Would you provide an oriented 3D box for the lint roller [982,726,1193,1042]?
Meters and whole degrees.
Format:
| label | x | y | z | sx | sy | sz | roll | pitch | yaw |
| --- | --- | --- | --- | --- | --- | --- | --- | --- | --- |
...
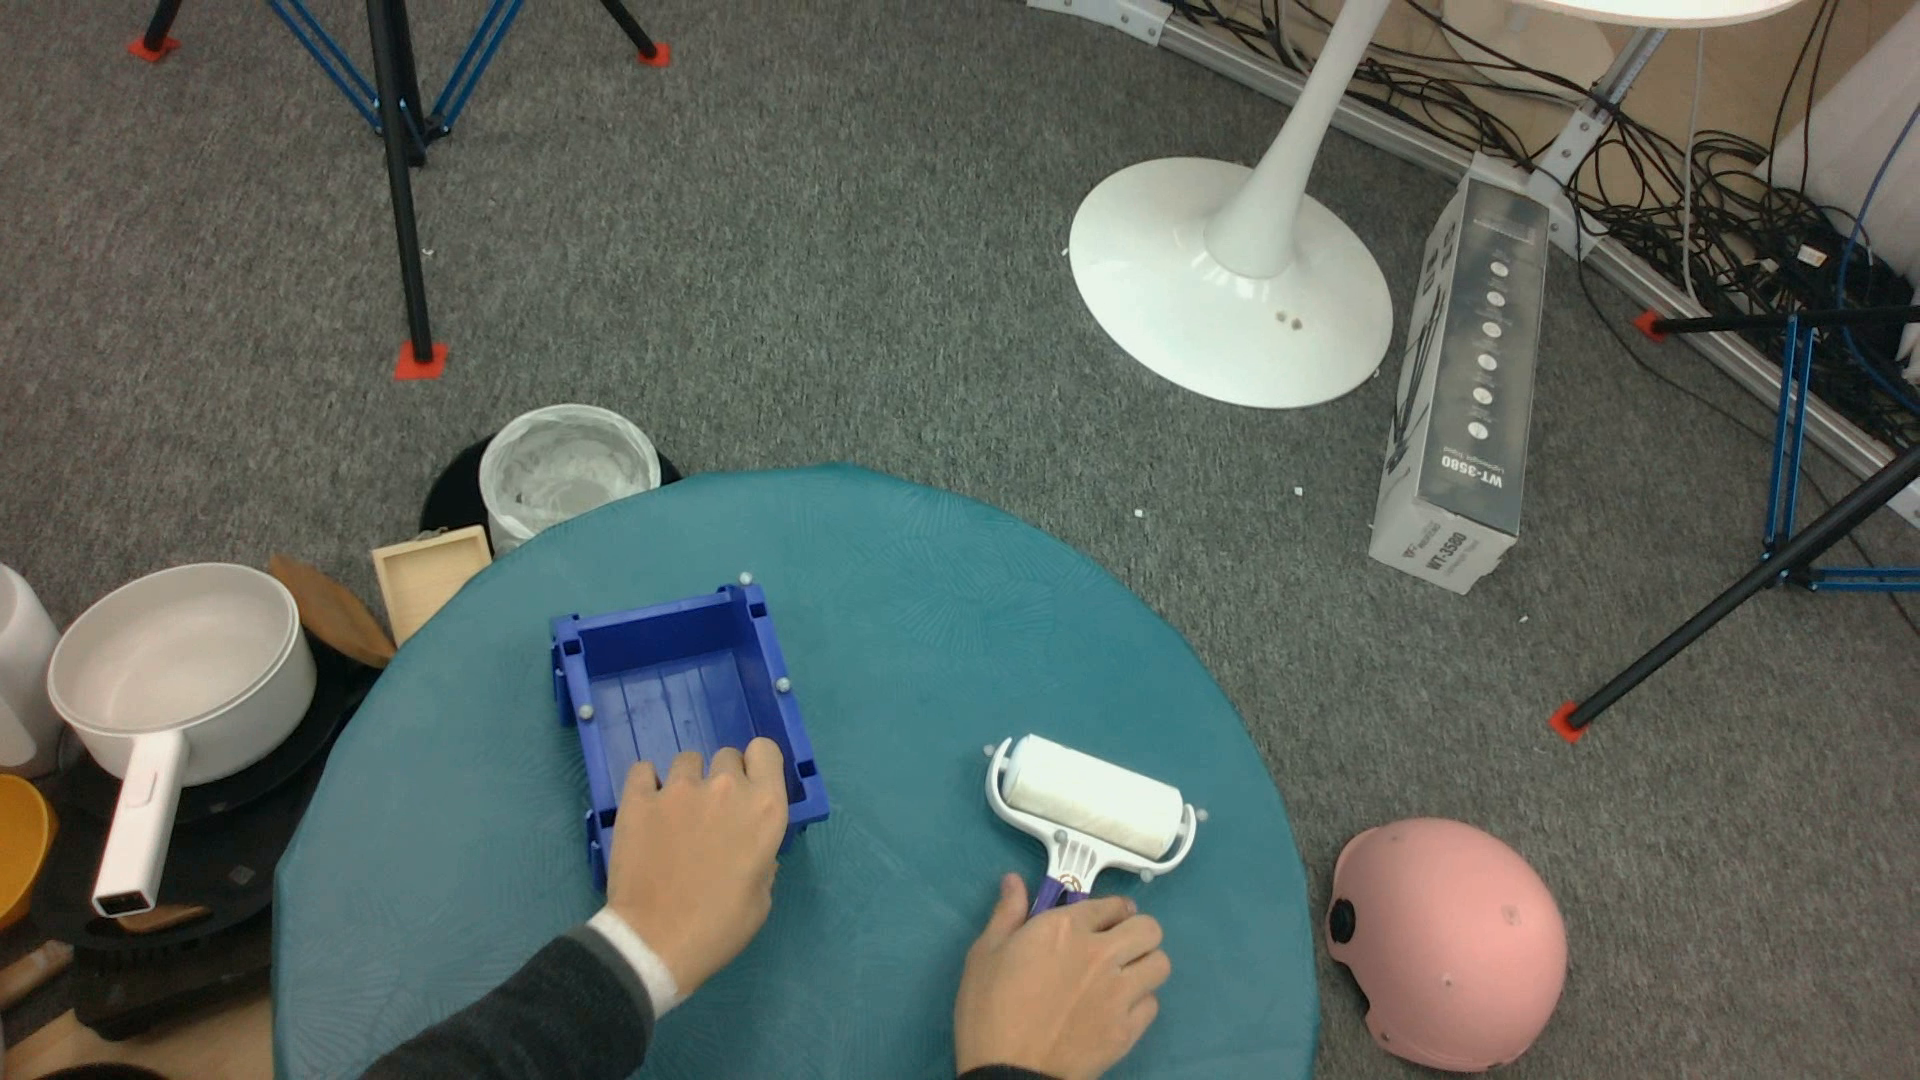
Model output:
| label | x | y | z | sx | sy | sz | roll | pitch | yaw |
| --- | --- | --- | --- | --- | --- | --- | --- | --- | --- |
| lint roller | 0.060 | 0.202 | 0.813 | 0.133 | 0.050 | 0.182 | 22 | 52 | 0 |

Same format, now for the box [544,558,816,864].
| label | x | y | z | sx | sy | sz | roll | pitch | yaw |
| --- | --- | --- | --- | --- | --- | --- | --- | --- | --- |
| box | -0.171 | 0.093 | 0.807 | 0.125 | 0.081 | 0.180 | -10 | 62 | -20 |
